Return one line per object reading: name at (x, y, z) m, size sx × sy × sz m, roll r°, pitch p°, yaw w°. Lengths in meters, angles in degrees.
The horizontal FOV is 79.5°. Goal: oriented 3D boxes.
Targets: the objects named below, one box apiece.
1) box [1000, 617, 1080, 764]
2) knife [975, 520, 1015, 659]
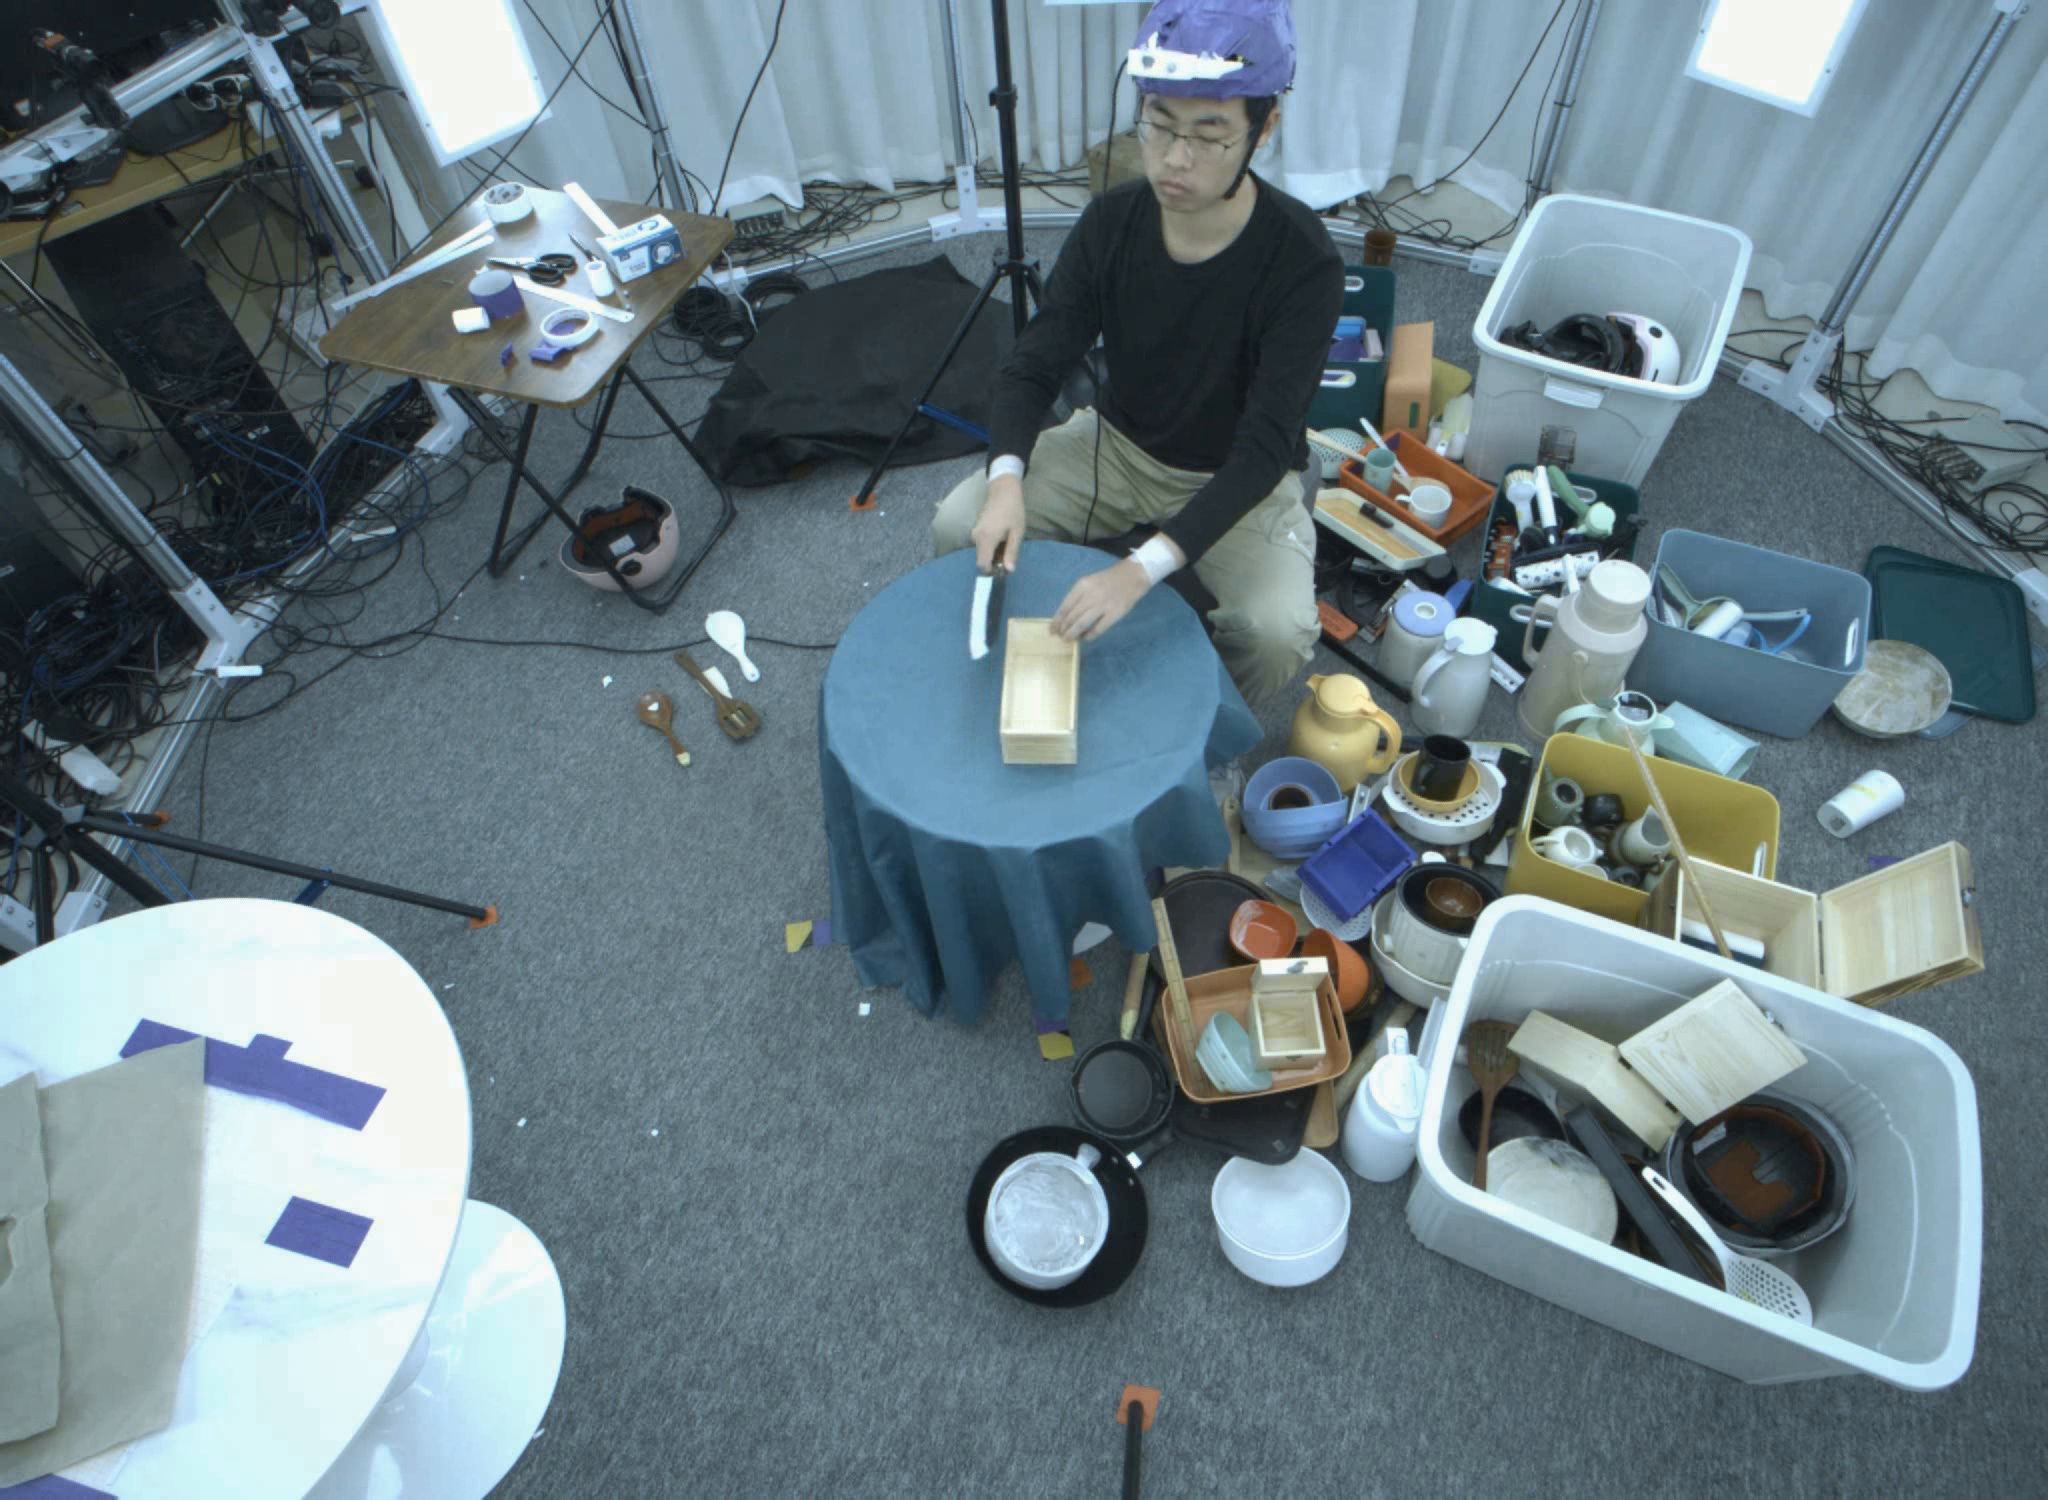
box at (0.027, -0.089, 1.801) m, size 0.107 × 0.081 × 0.209 m, roll 1°, pitch 55°, yaw 3°
knife at (-0.043, -0.242, 1.823) m, size 0.050 × 0.020 × 0.287 m, roll 4°, pitch 53°, yaw 5°
